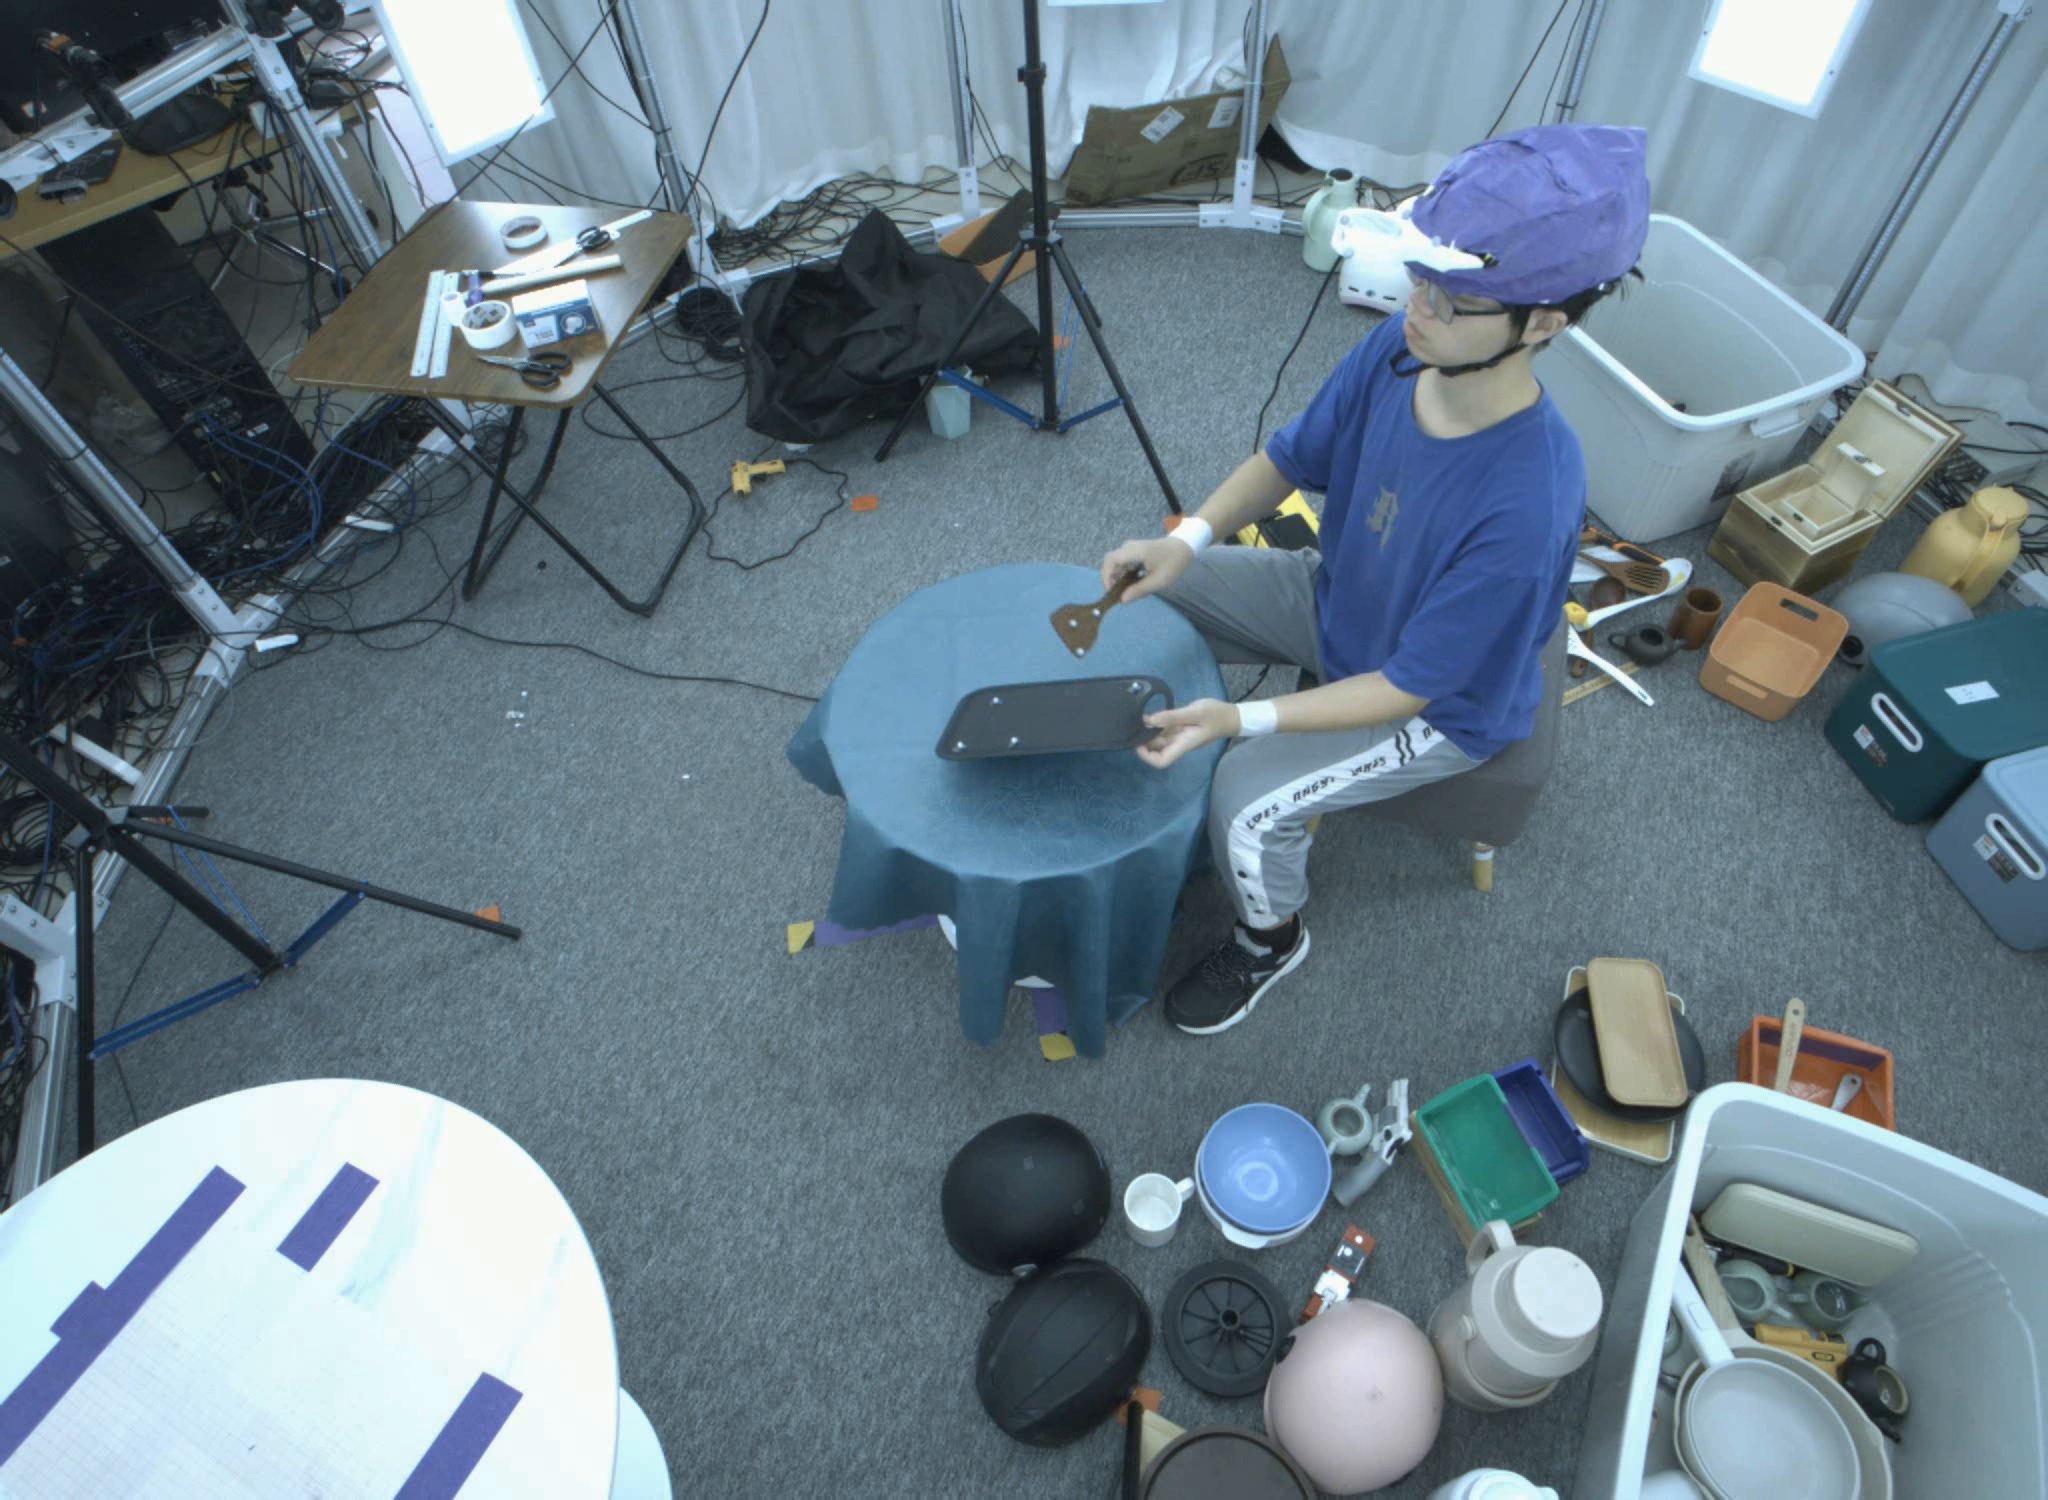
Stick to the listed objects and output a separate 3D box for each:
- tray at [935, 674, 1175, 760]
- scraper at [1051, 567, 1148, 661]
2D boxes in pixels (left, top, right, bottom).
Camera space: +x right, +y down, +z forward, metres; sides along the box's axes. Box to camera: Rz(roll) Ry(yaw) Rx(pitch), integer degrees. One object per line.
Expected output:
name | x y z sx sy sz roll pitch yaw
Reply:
tray | 0.047 -0.050 1.700 0.322 0.010 0.210 -3 30 15
scraper | 0.112 -0.198 1.704 0.076 0.010 0.213 55 51 -9
